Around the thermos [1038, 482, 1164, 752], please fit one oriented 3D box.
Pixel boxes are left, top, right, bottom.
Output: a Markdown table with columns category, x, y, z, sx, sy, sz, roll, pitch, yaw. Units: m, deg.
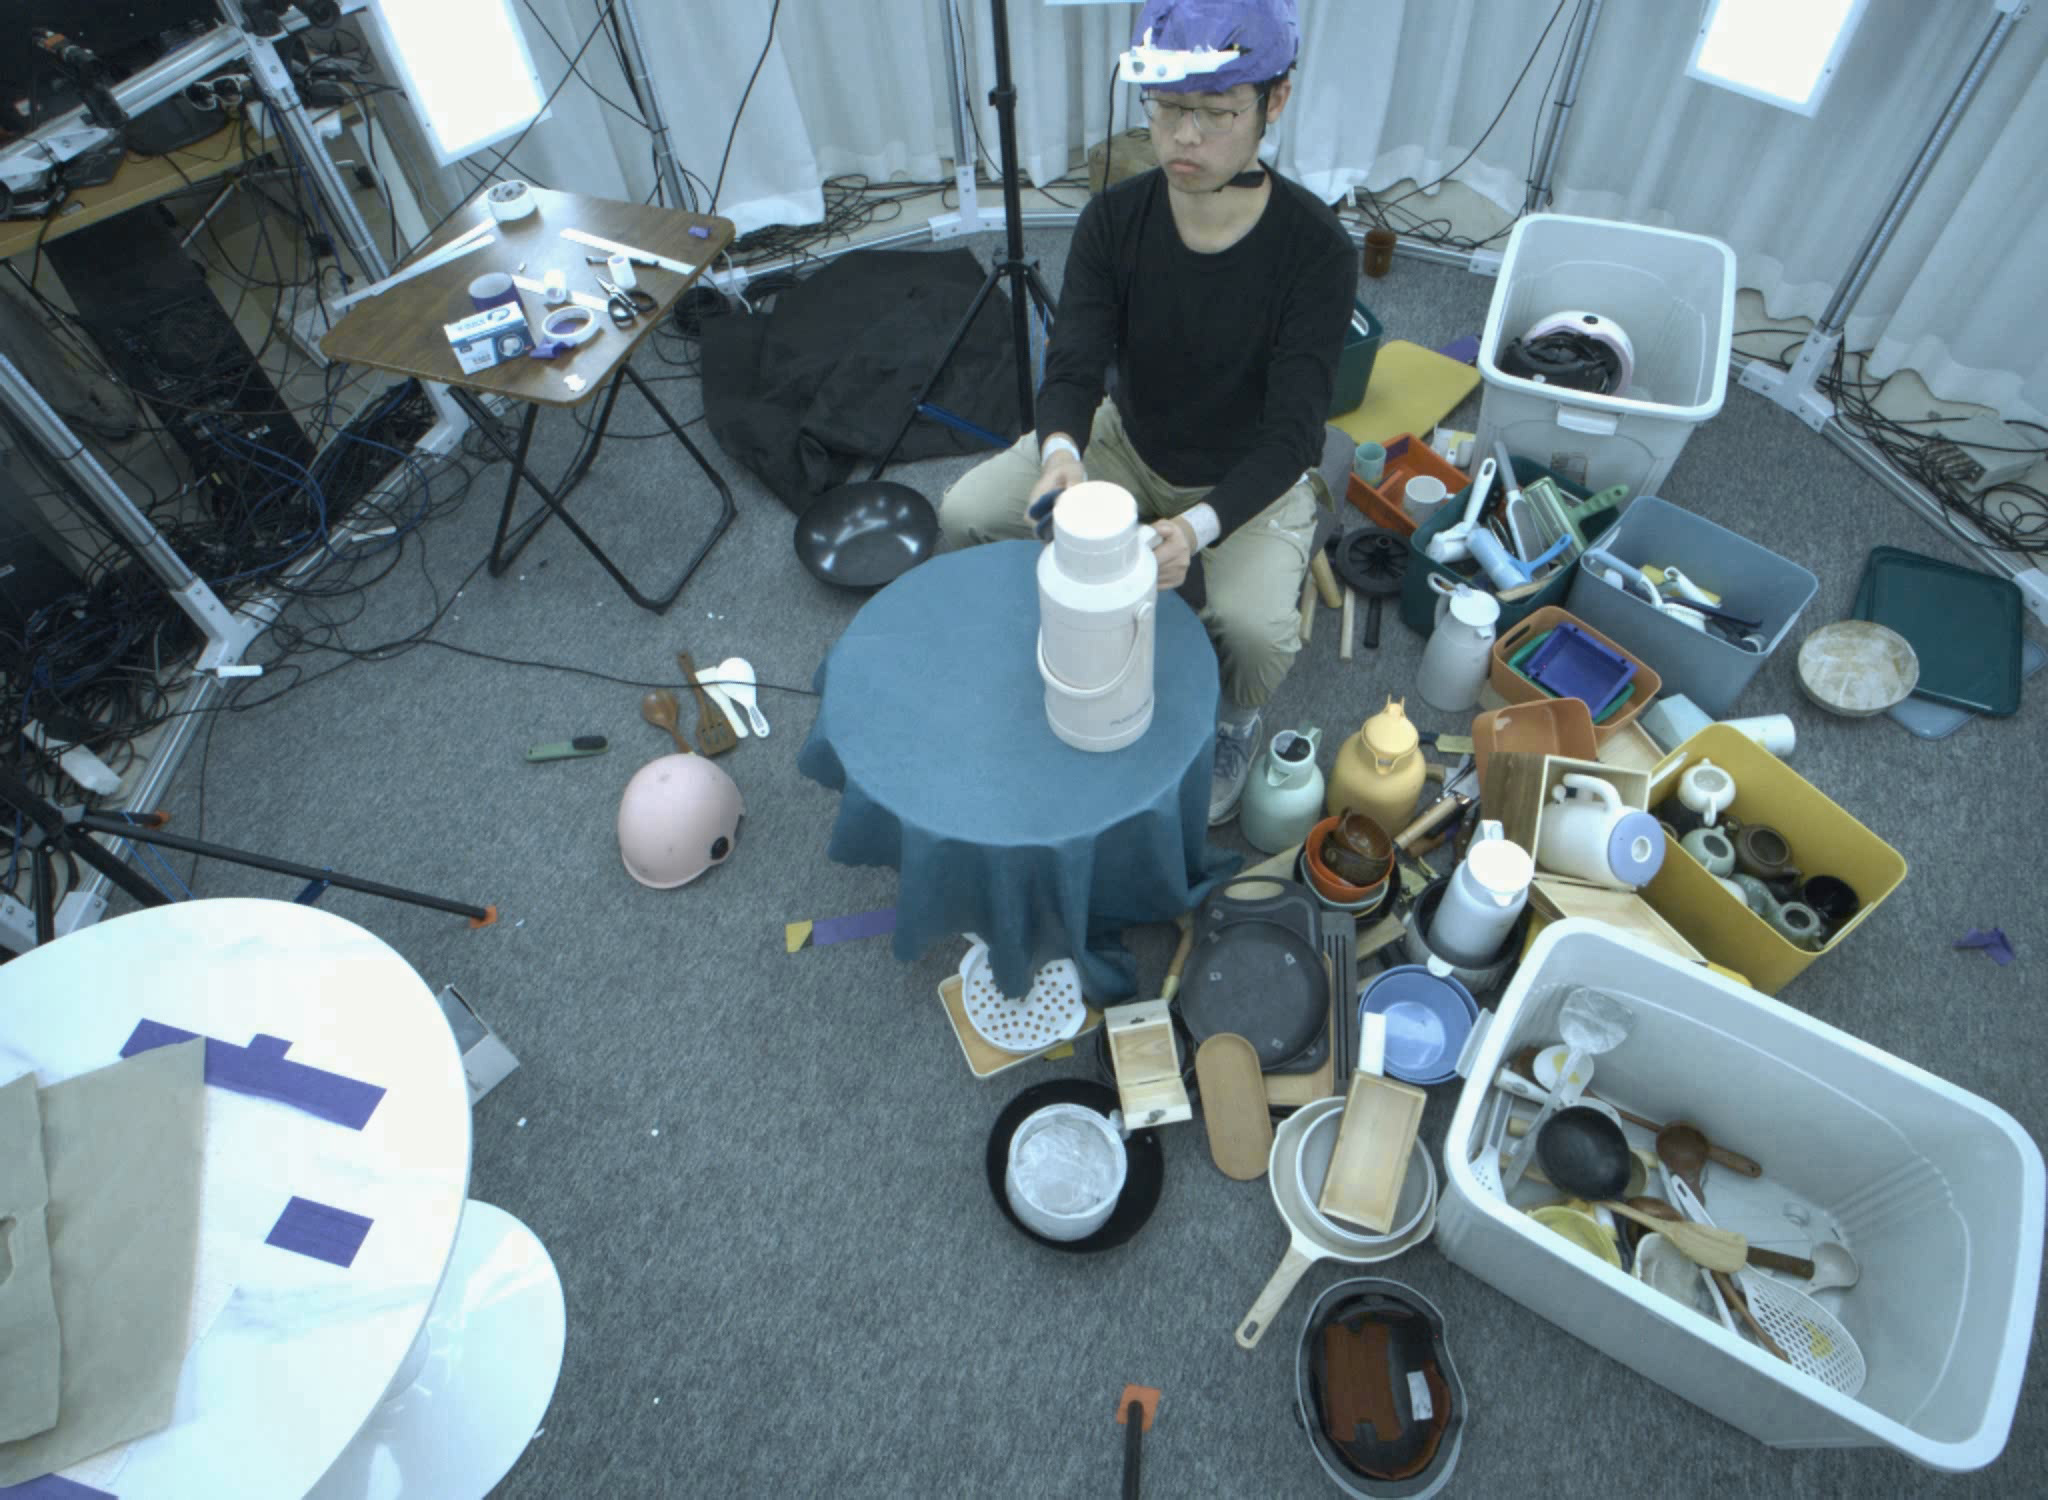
| category | x | y | z | sx | sy | sz | roll | pitch | yaw |
| --- | --- | --- | --- | --- | --- | --- | --- | --- | --- |
| thermos | 0.113 | -0.184 | 1.669 | 0.172 | 0.411 | 0.208 | 36 | 65 | 27 |

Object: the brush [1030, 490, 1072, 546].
| category | x | y | z | sx | sy | sz | roll | pitch | yaw |
| --- | --- | --- | --- | --- | --- | --- | --- | --- | --- |
| brush | 0.062 | -0.309 | 1.645 | 0.124 | 0.067 | 0.060 | -12 | 66 | -47 |
